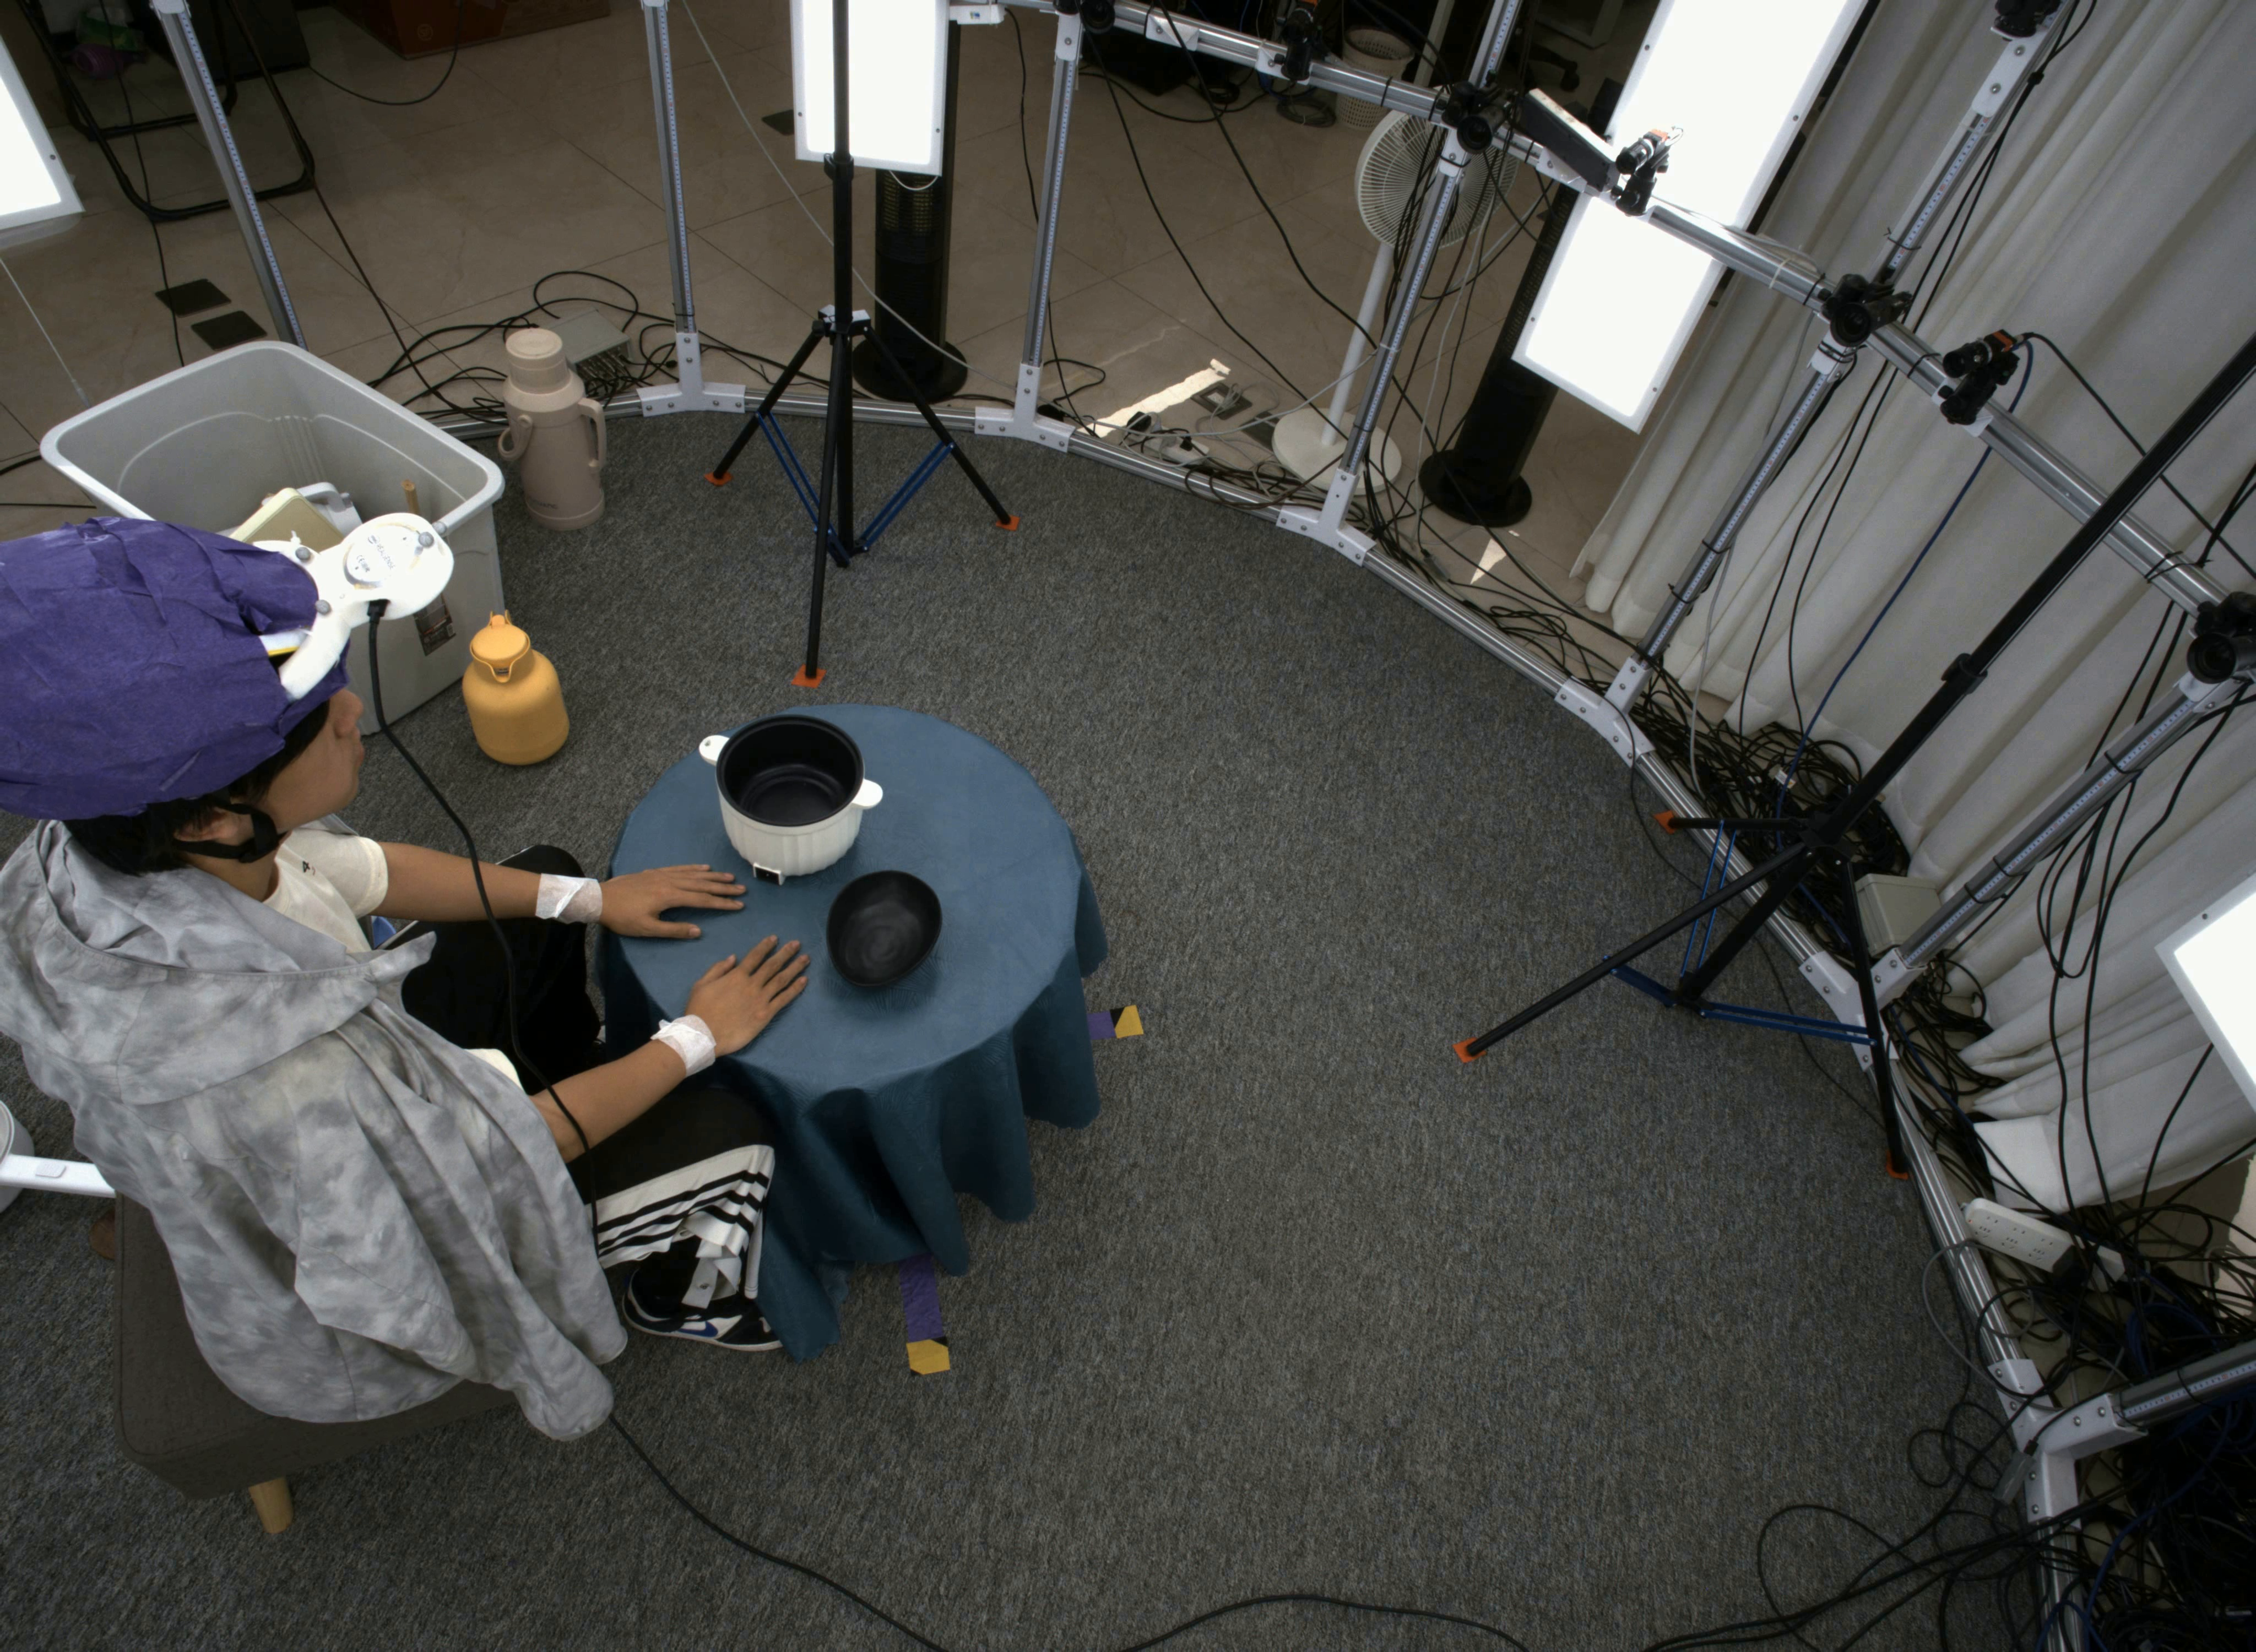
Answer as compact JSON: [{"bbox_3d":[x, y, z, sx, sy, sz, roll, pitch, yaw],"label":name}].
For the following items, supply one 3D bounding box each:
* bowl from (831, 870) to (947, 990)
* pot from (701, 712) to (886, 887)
[{"bbox_3d":[-0.296,0.137,1.615,0.136,0.068,0.168,16,53,0],"label":"bowl"},{"bbox_3d":[-0.425,-0.037,1.665,0.238,0.145,0.188,17,55,-1],"label":"pot"}]
